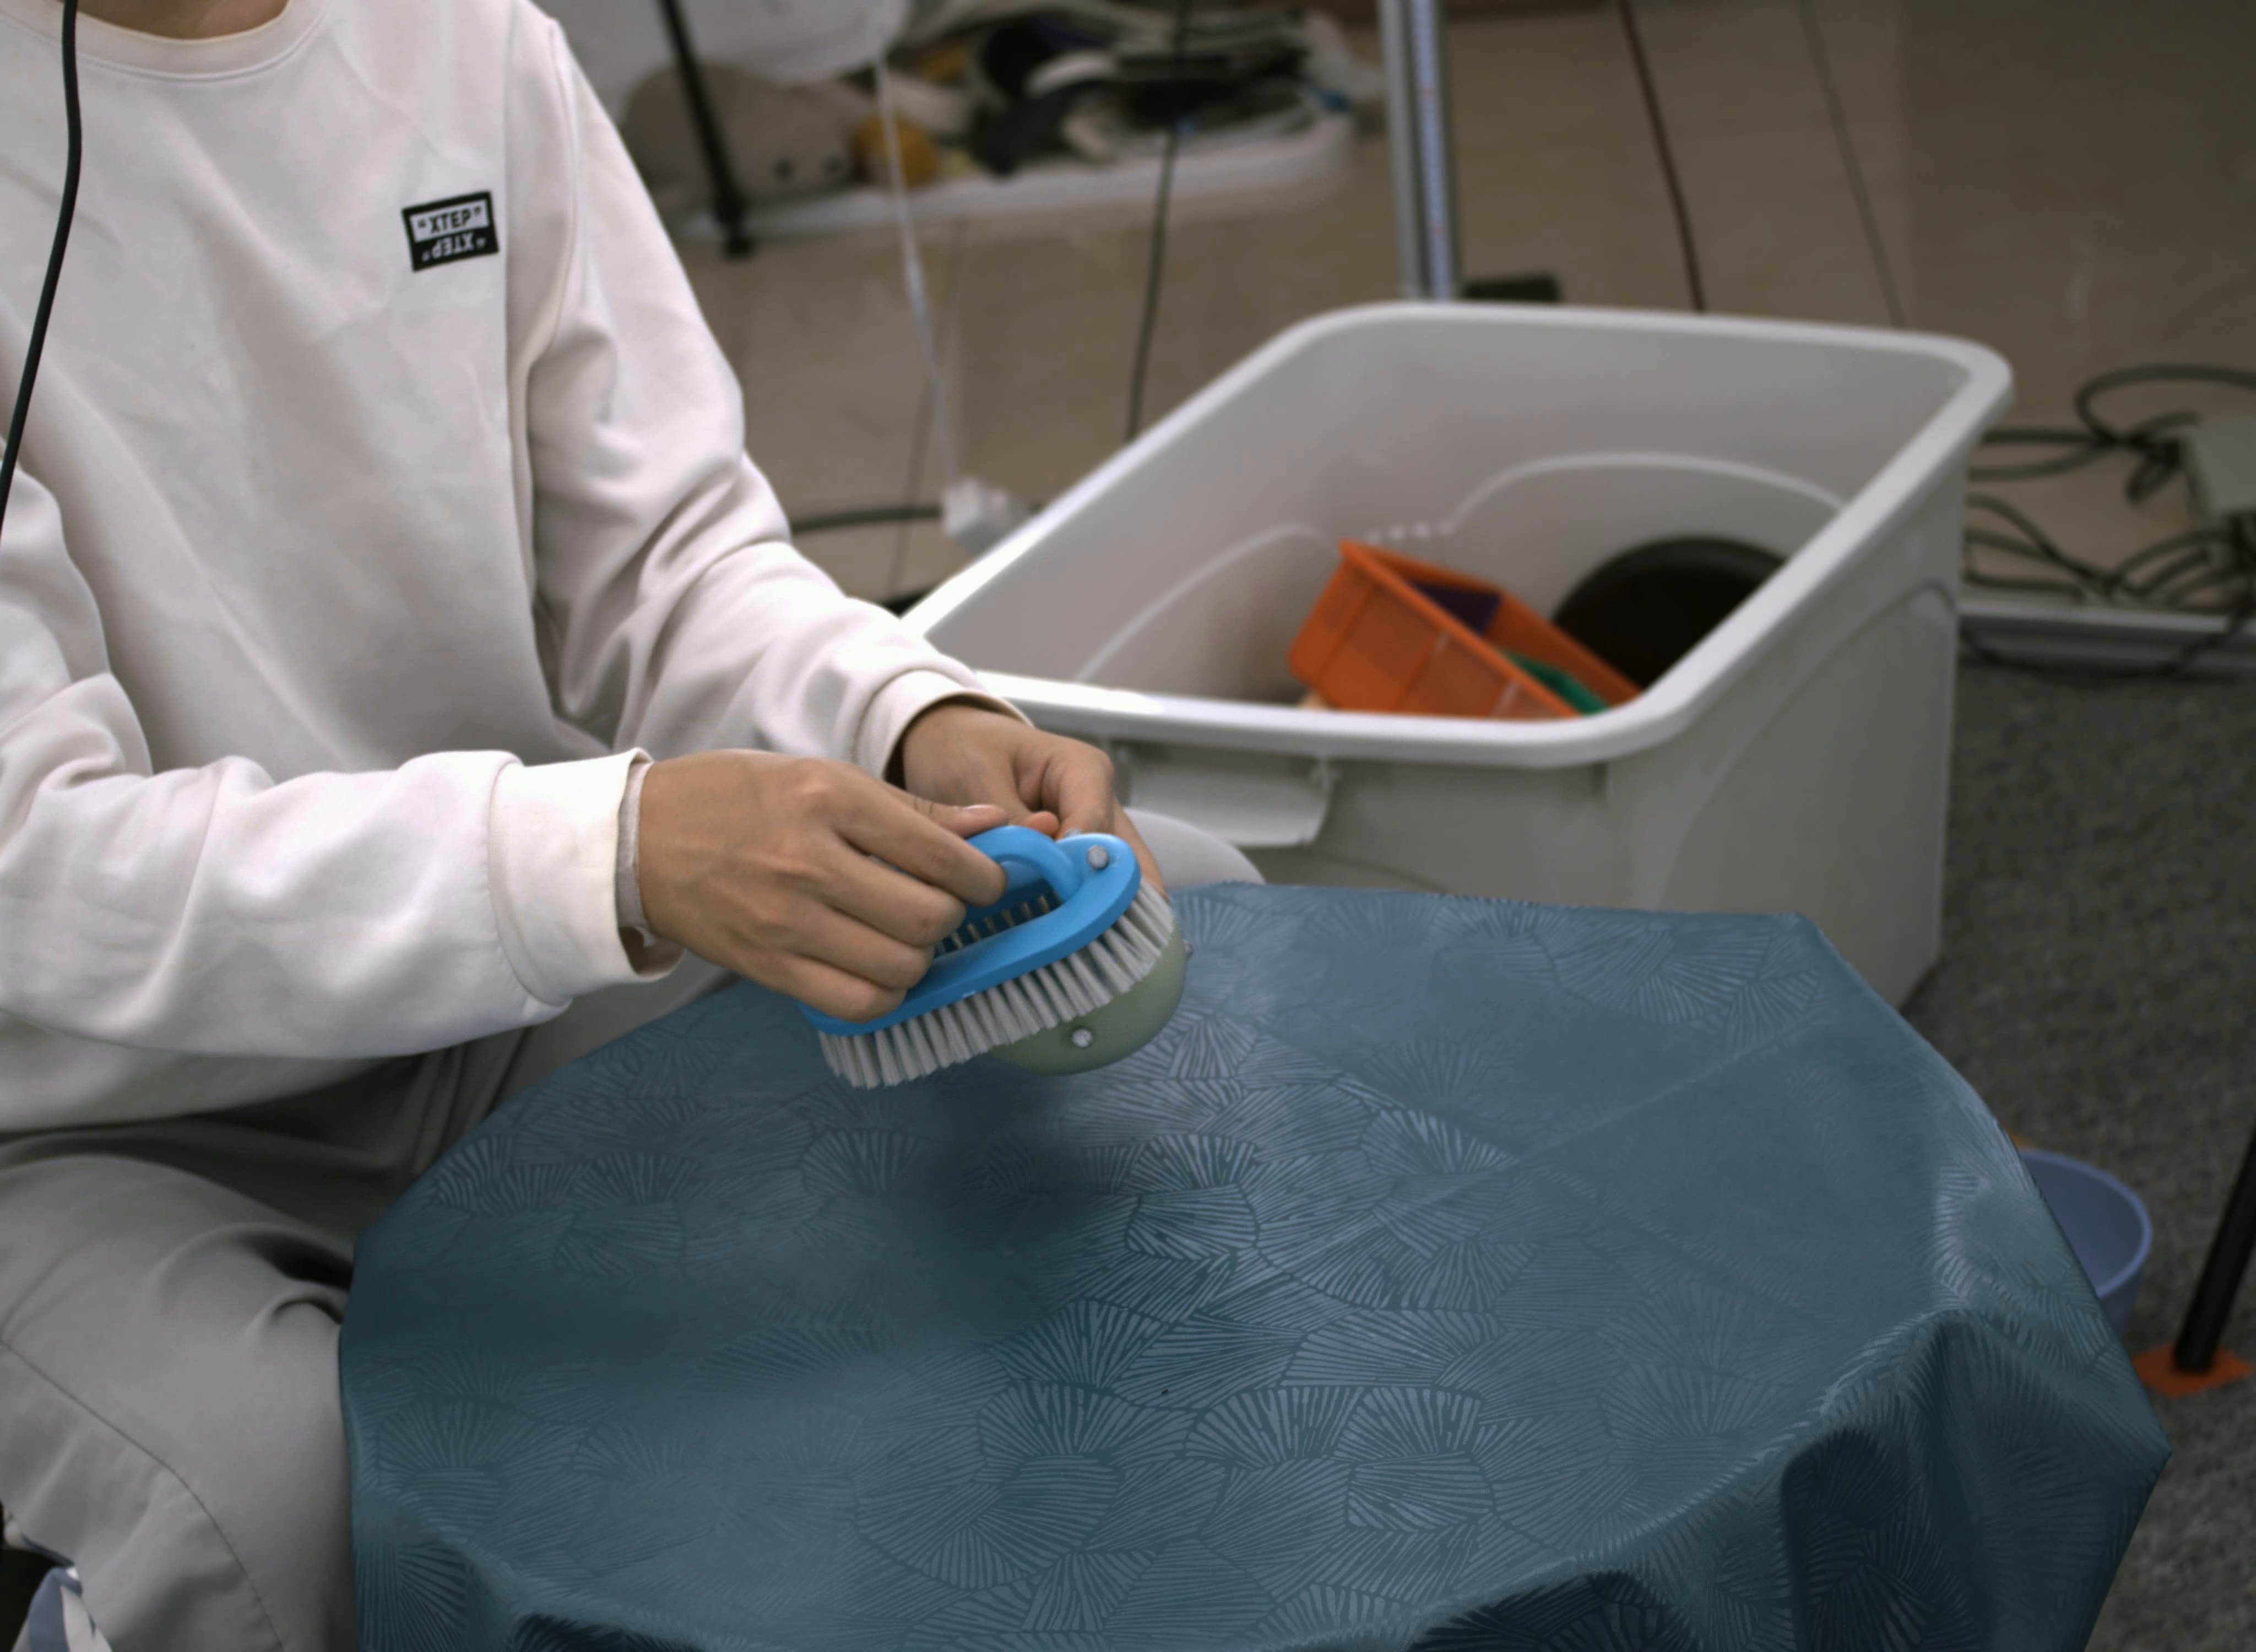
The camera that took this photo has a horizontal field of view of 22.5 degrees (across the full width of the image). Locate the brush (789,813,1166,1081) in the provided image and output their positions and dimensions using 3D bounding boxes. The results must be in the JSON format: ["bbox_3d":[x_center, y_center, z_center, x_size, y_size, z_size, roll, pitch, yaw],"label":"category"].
[{"bbox_3d":[-0.061,0.035,2.068,0.142,0.065,0.083,-21,35,15],"label":"brush"}]

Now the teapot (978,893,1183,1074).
[{"bbox_3d":[-0.025,0.049,2.154,0.091,0.062,0.126,-13,32,5],"label":"teapot"}]
